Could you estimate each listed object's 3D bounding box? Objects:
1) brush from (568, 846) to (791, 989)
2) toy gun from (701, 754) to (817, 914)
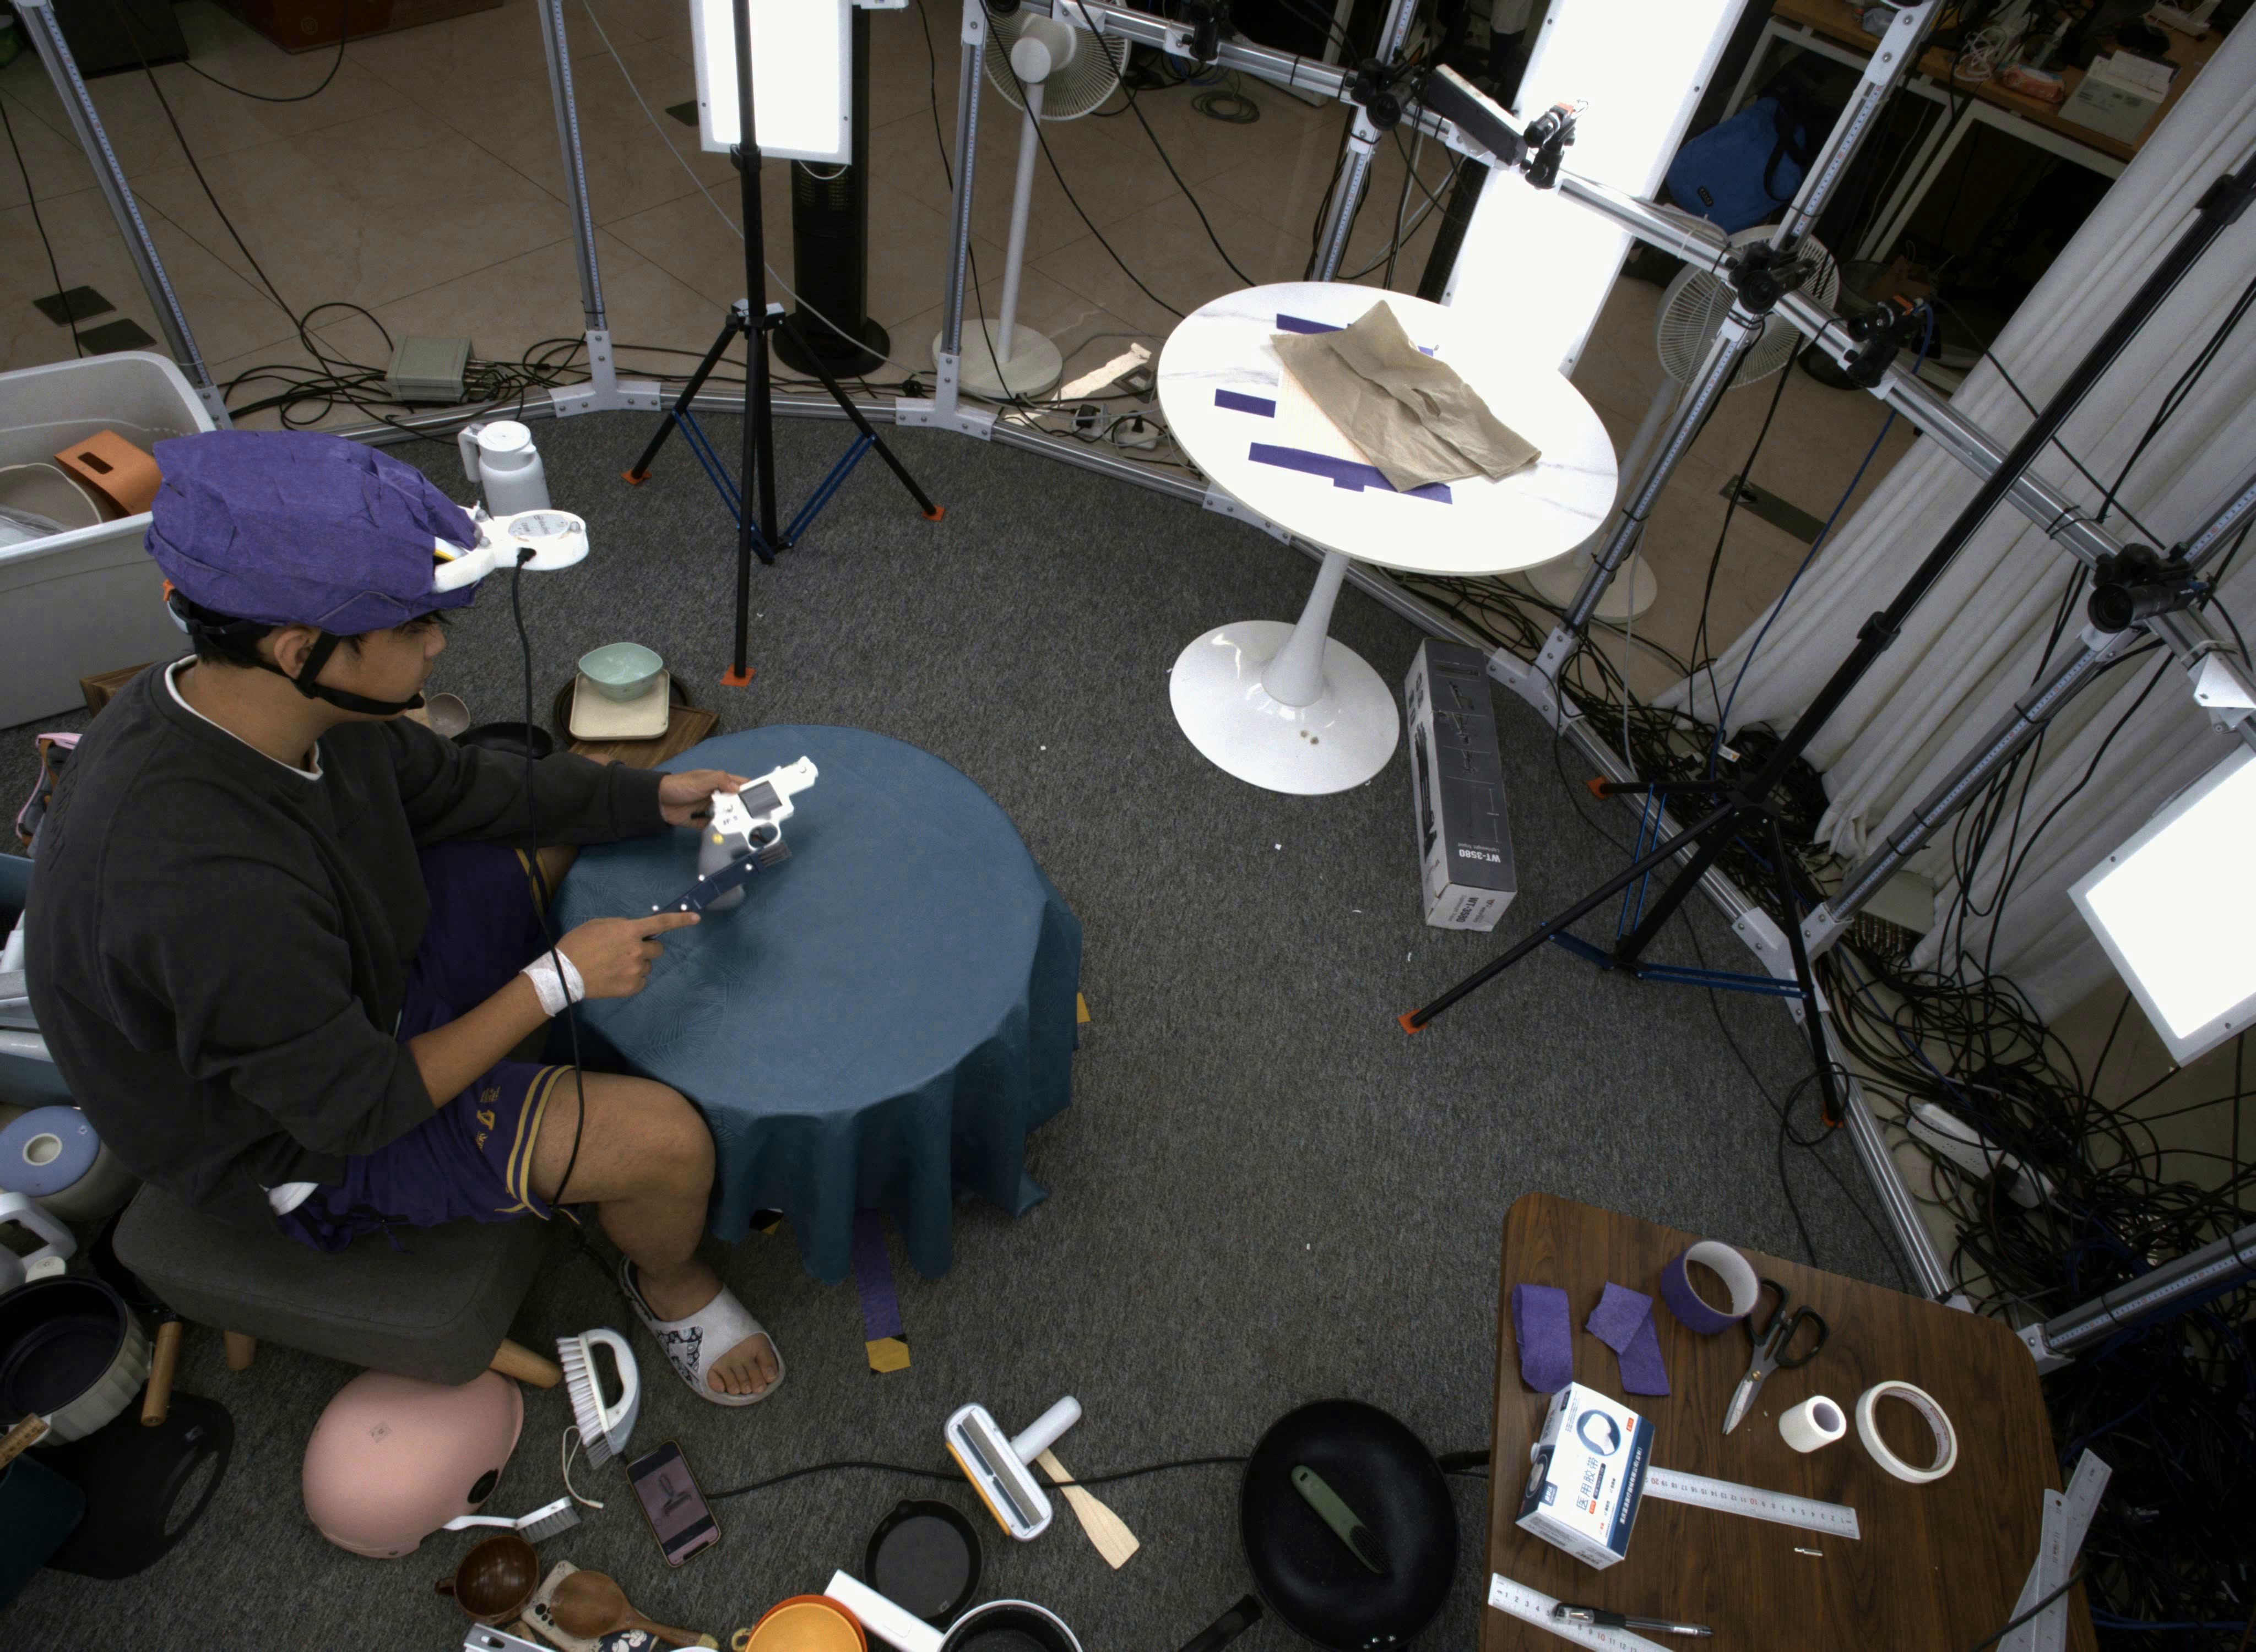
[{"bbox_3d":[-0.516,0.096,1.471,0.273,0.093,0.034,-38,112,-36],"label":"brush"},{"bbox_3d":[-0.462,0.006,1.626,0.209,0.039,0.141,-30,81,-26],"label":"toy gun"}]
